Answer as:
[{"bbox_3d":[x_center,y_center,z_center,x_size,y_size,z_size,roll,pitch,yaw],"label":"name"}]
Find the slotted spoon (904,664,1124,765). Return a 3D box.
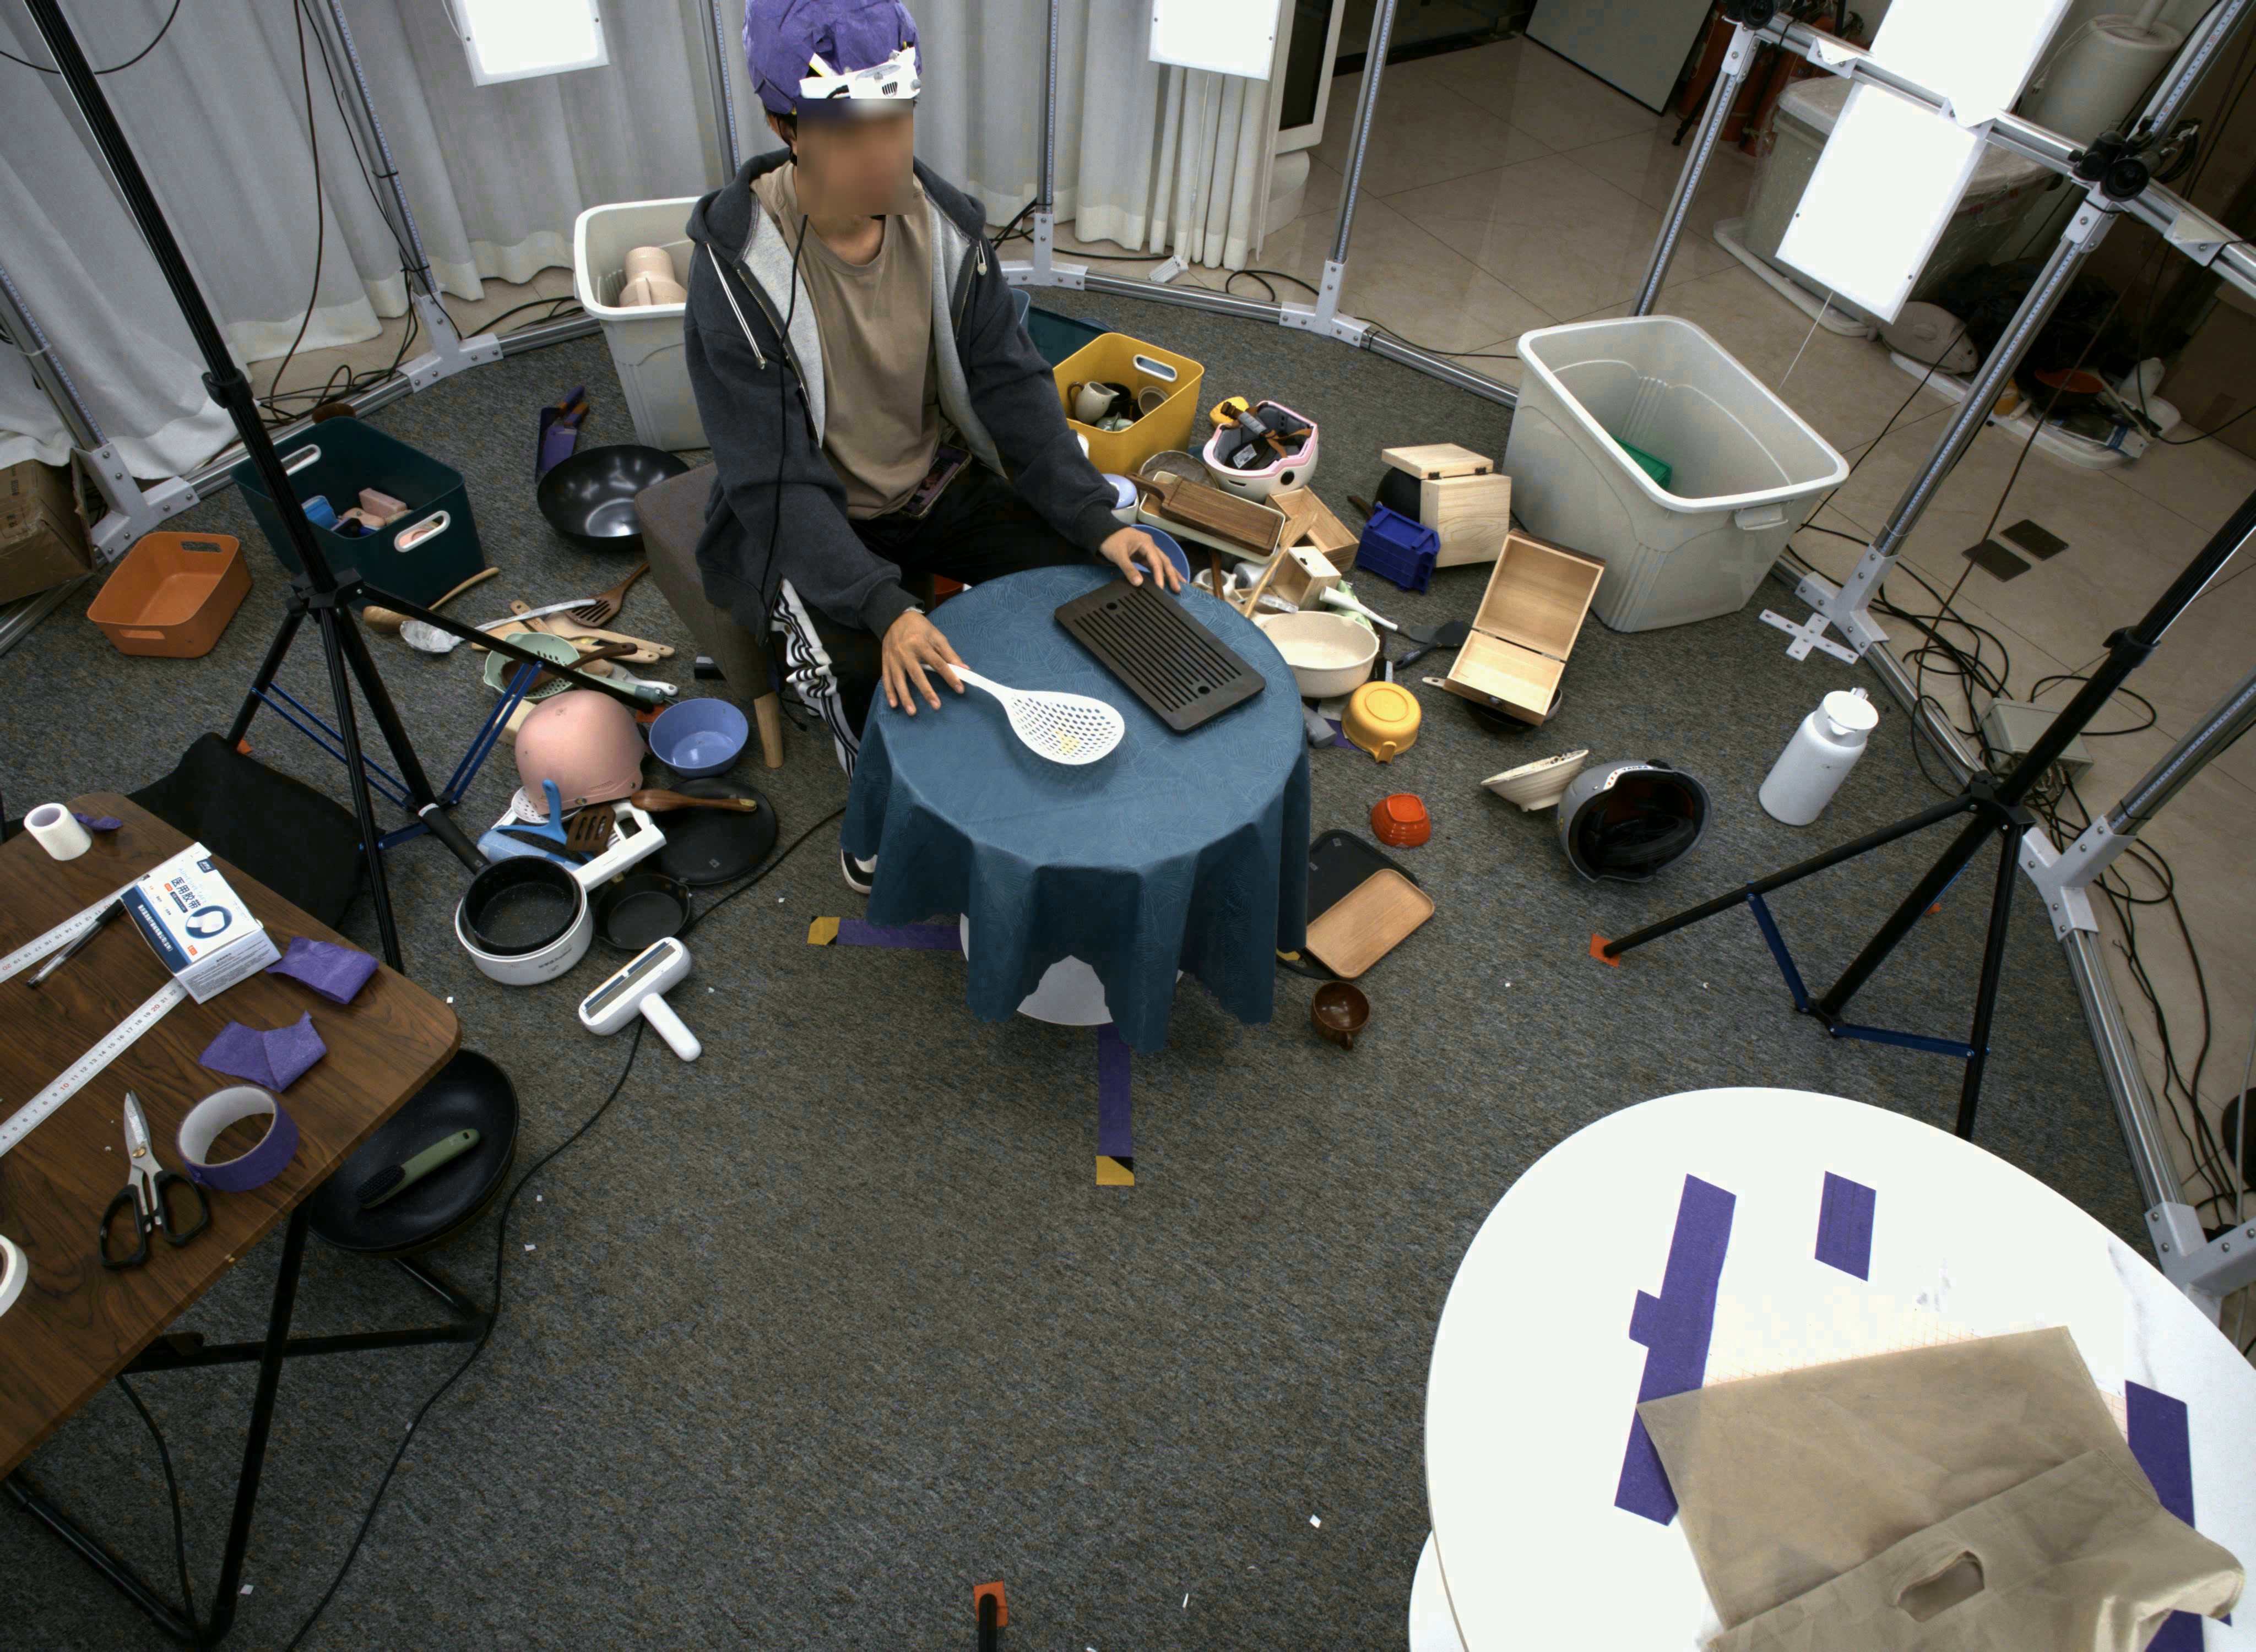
[{"bbox_3d":[-0.166,-0.171,1.777,0.351,0.049,0.139,28,53,19],"label":"slotted spoon"}]

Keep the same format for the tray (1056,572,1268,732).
[{"bbox_3d":[0.046,-0.259,1.882,0.171,0.018,0.311,-29,56,-25],"label":"tray"}]
